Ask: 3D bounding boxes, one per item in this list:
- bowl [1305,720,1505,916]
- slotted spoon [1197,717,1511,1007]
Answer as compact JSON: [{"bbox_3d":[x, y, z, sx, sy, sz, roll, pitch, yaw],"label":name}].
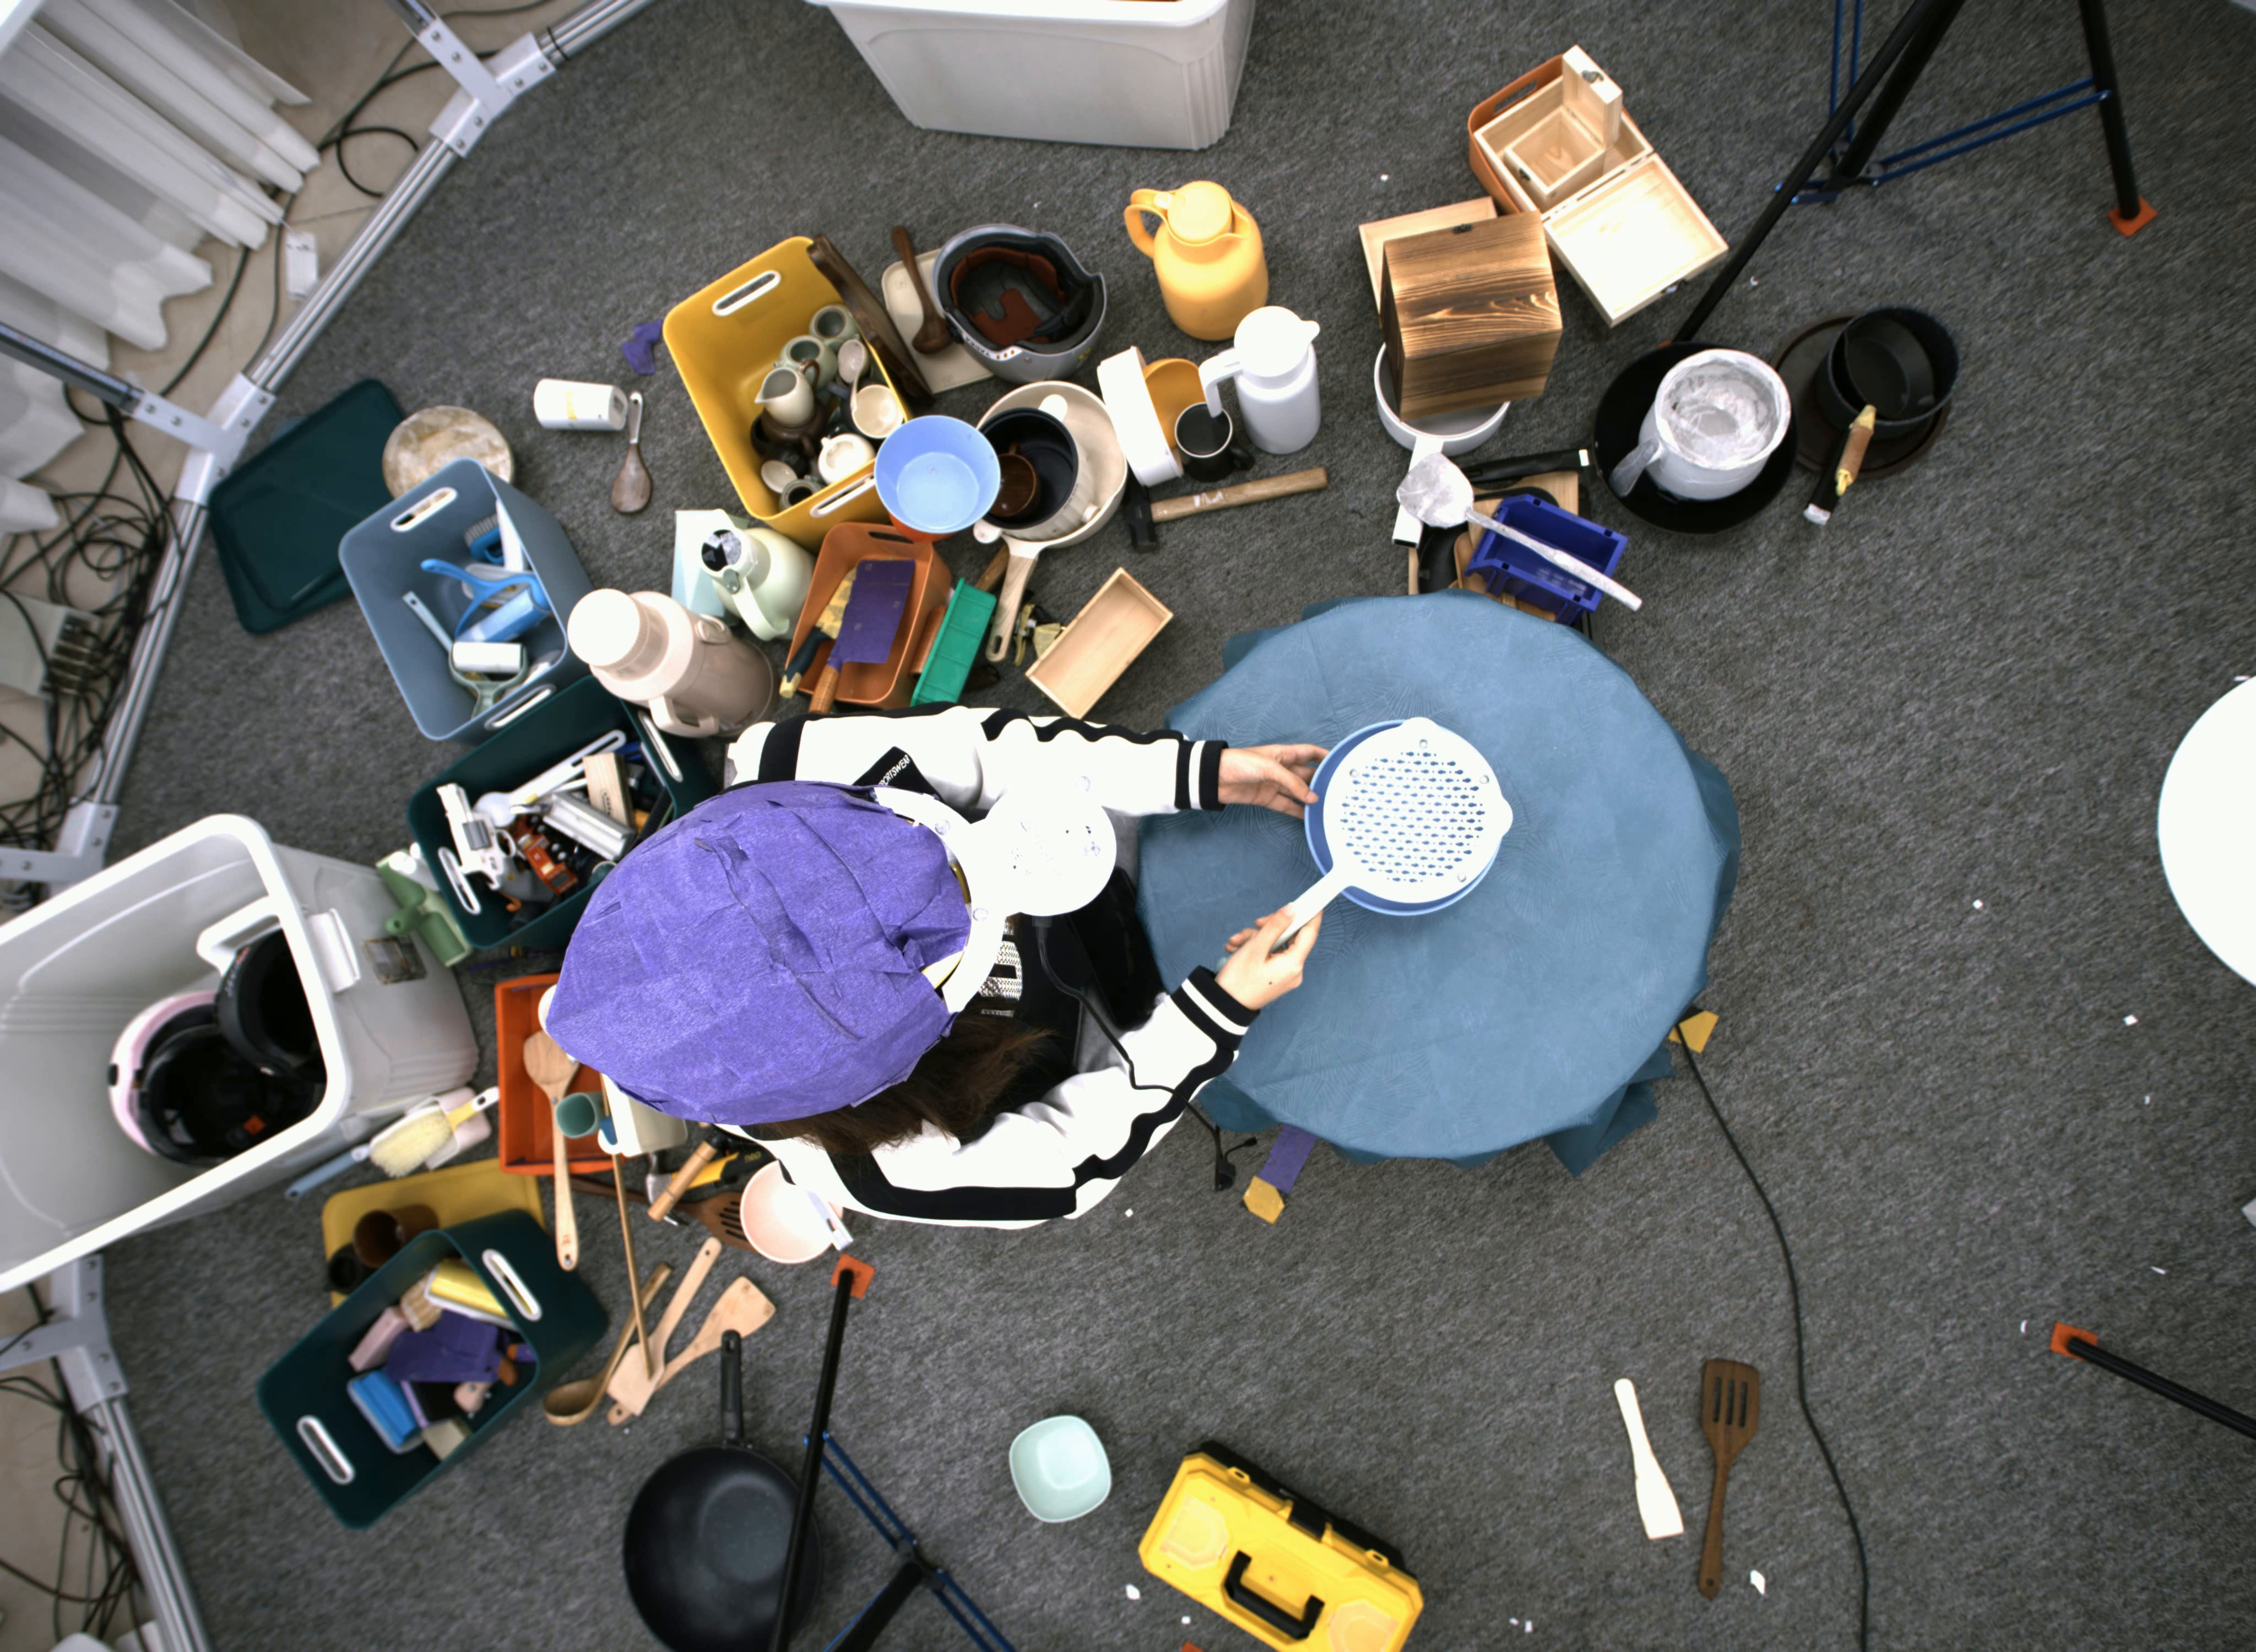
[{"bbox_3d":[0.282,-0.006,1.414,0.197,0.095,0.195,-1,87,10],"label":"bowl"},{"bbox_3d":[0.203,0.053,1.347,0.359,0.076,0.168,-41,75,1],"label":"slotted spoon"}]
